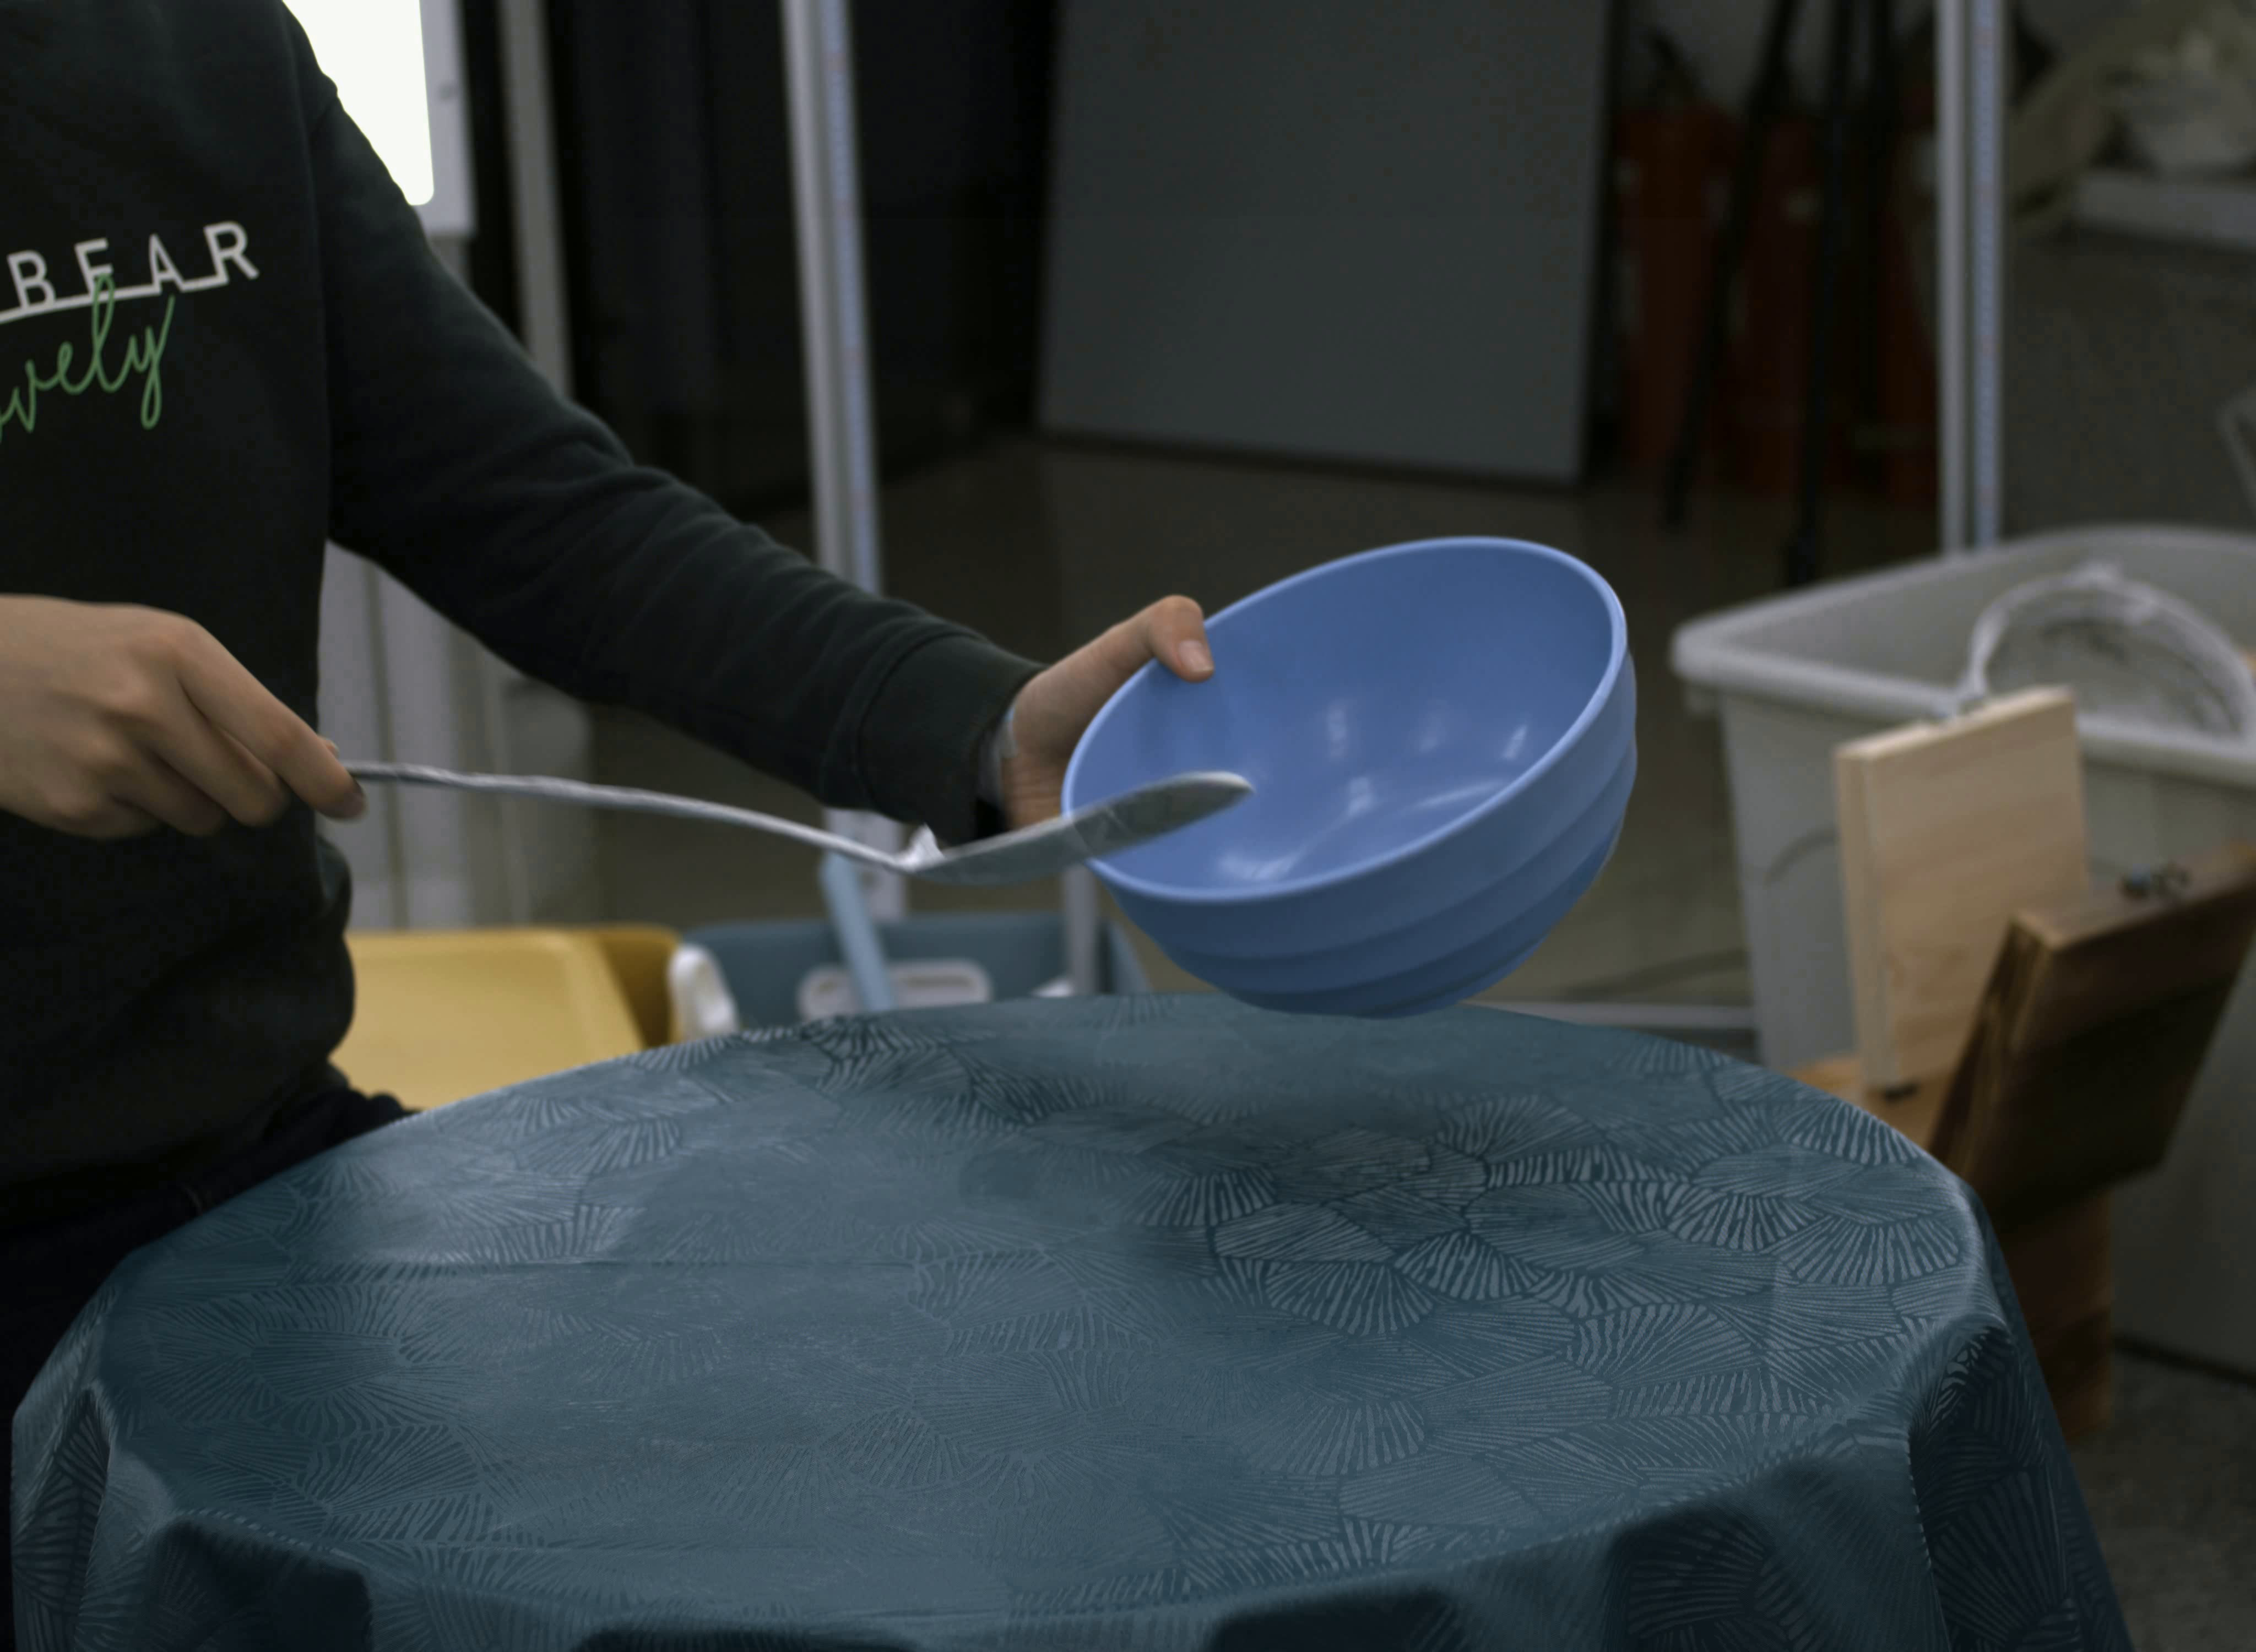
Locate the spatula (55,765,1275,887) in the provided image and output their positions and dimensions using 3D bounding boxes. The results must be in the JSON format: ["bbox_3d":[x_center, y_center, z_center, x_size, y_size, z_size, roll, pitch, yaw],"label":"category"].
[{"bbox_3d":[-0.139,-0.011,1.551,0.362,0.045,0.098,6,1,12],"label":"spatula"}]

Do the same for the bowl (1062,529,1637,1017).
[{"bbox_3d":[0.084,-0.003,1.766,0.195,0.095,0.197,-18,29,10],"label":"bowl"}]
